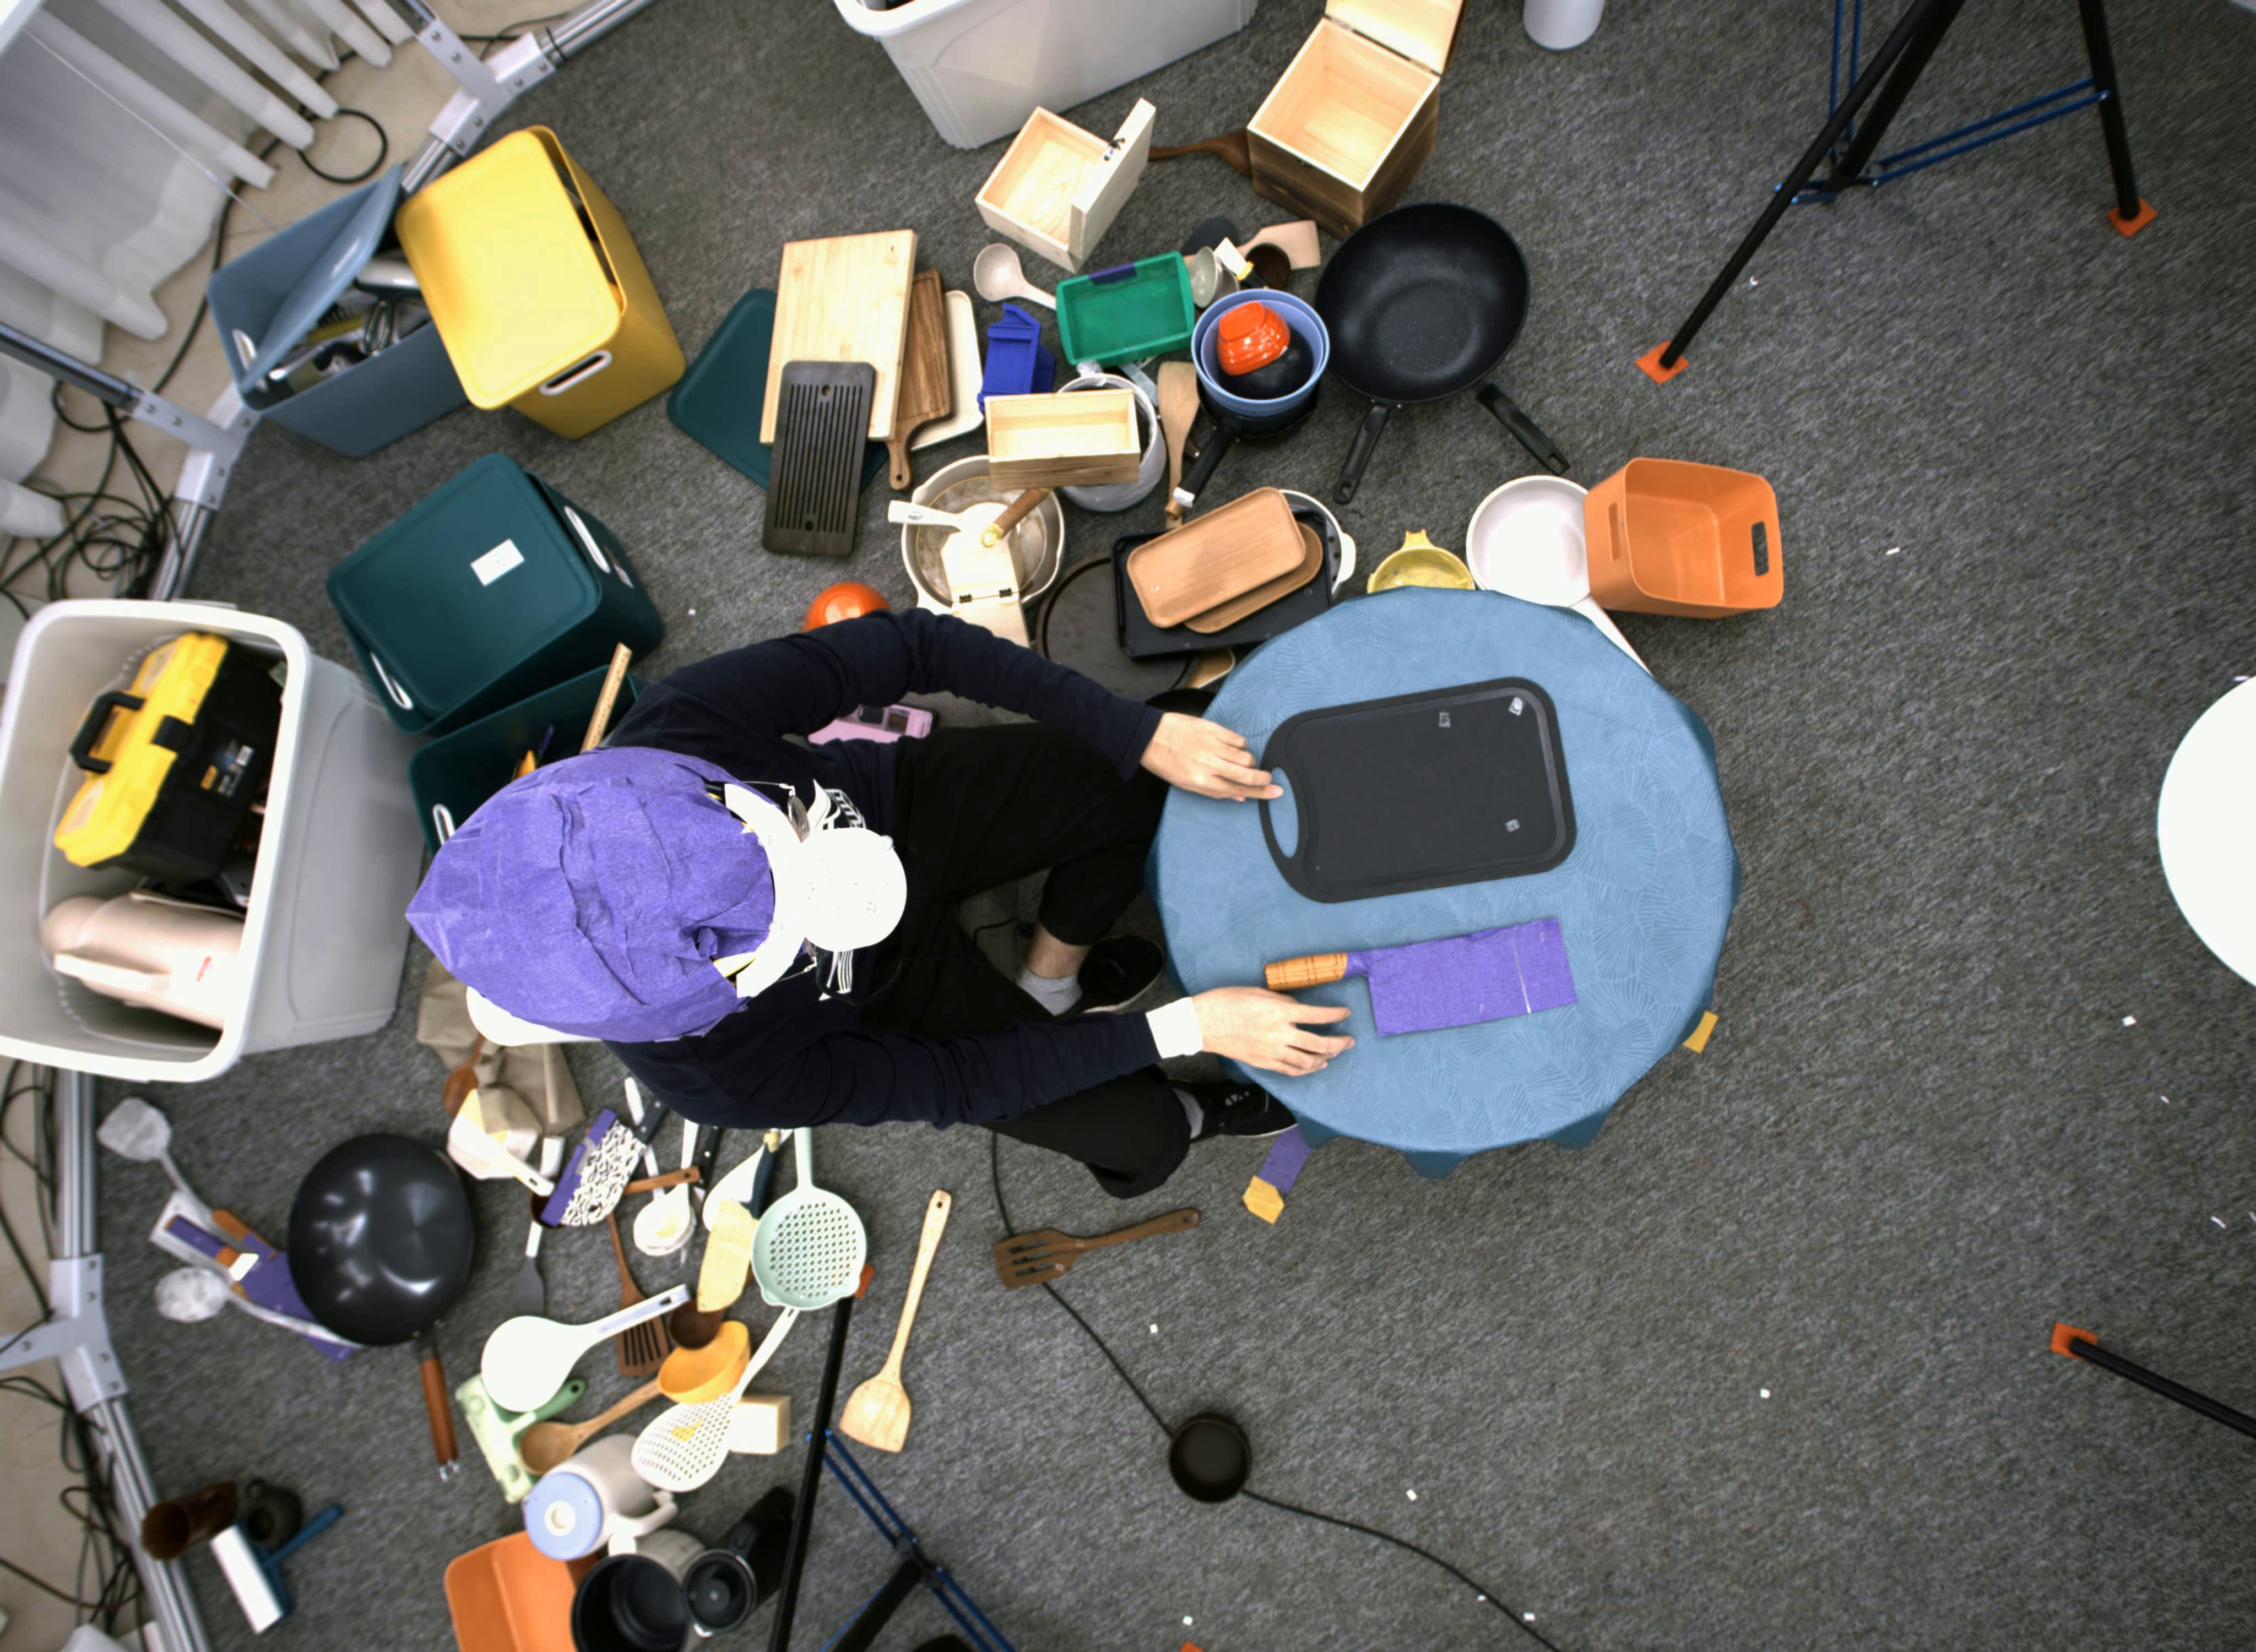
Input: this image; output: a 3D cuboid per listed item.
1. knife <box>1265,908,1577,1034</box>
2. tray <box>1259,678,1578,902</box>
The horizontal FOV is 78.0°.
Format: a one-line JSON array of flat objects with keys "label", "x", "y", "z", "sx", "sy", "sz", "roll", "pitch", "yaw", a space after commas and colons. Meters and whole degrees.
[{"label": "knife", "x": 0.304, "y": 0.162, "z": 1.435, "sx": 0.317, "sy": 0.032, "sz": 0.103, "roll": -12, "pitch": 84, "yaw": 9}, {"label": "tray", "x": 0.302, "y": -0.038, "z": 1.457, "sx": 0.327, "sy": 0.010, "sz": 0.210, "roll": -9, "pitch": 85, "yaw": 10}]
